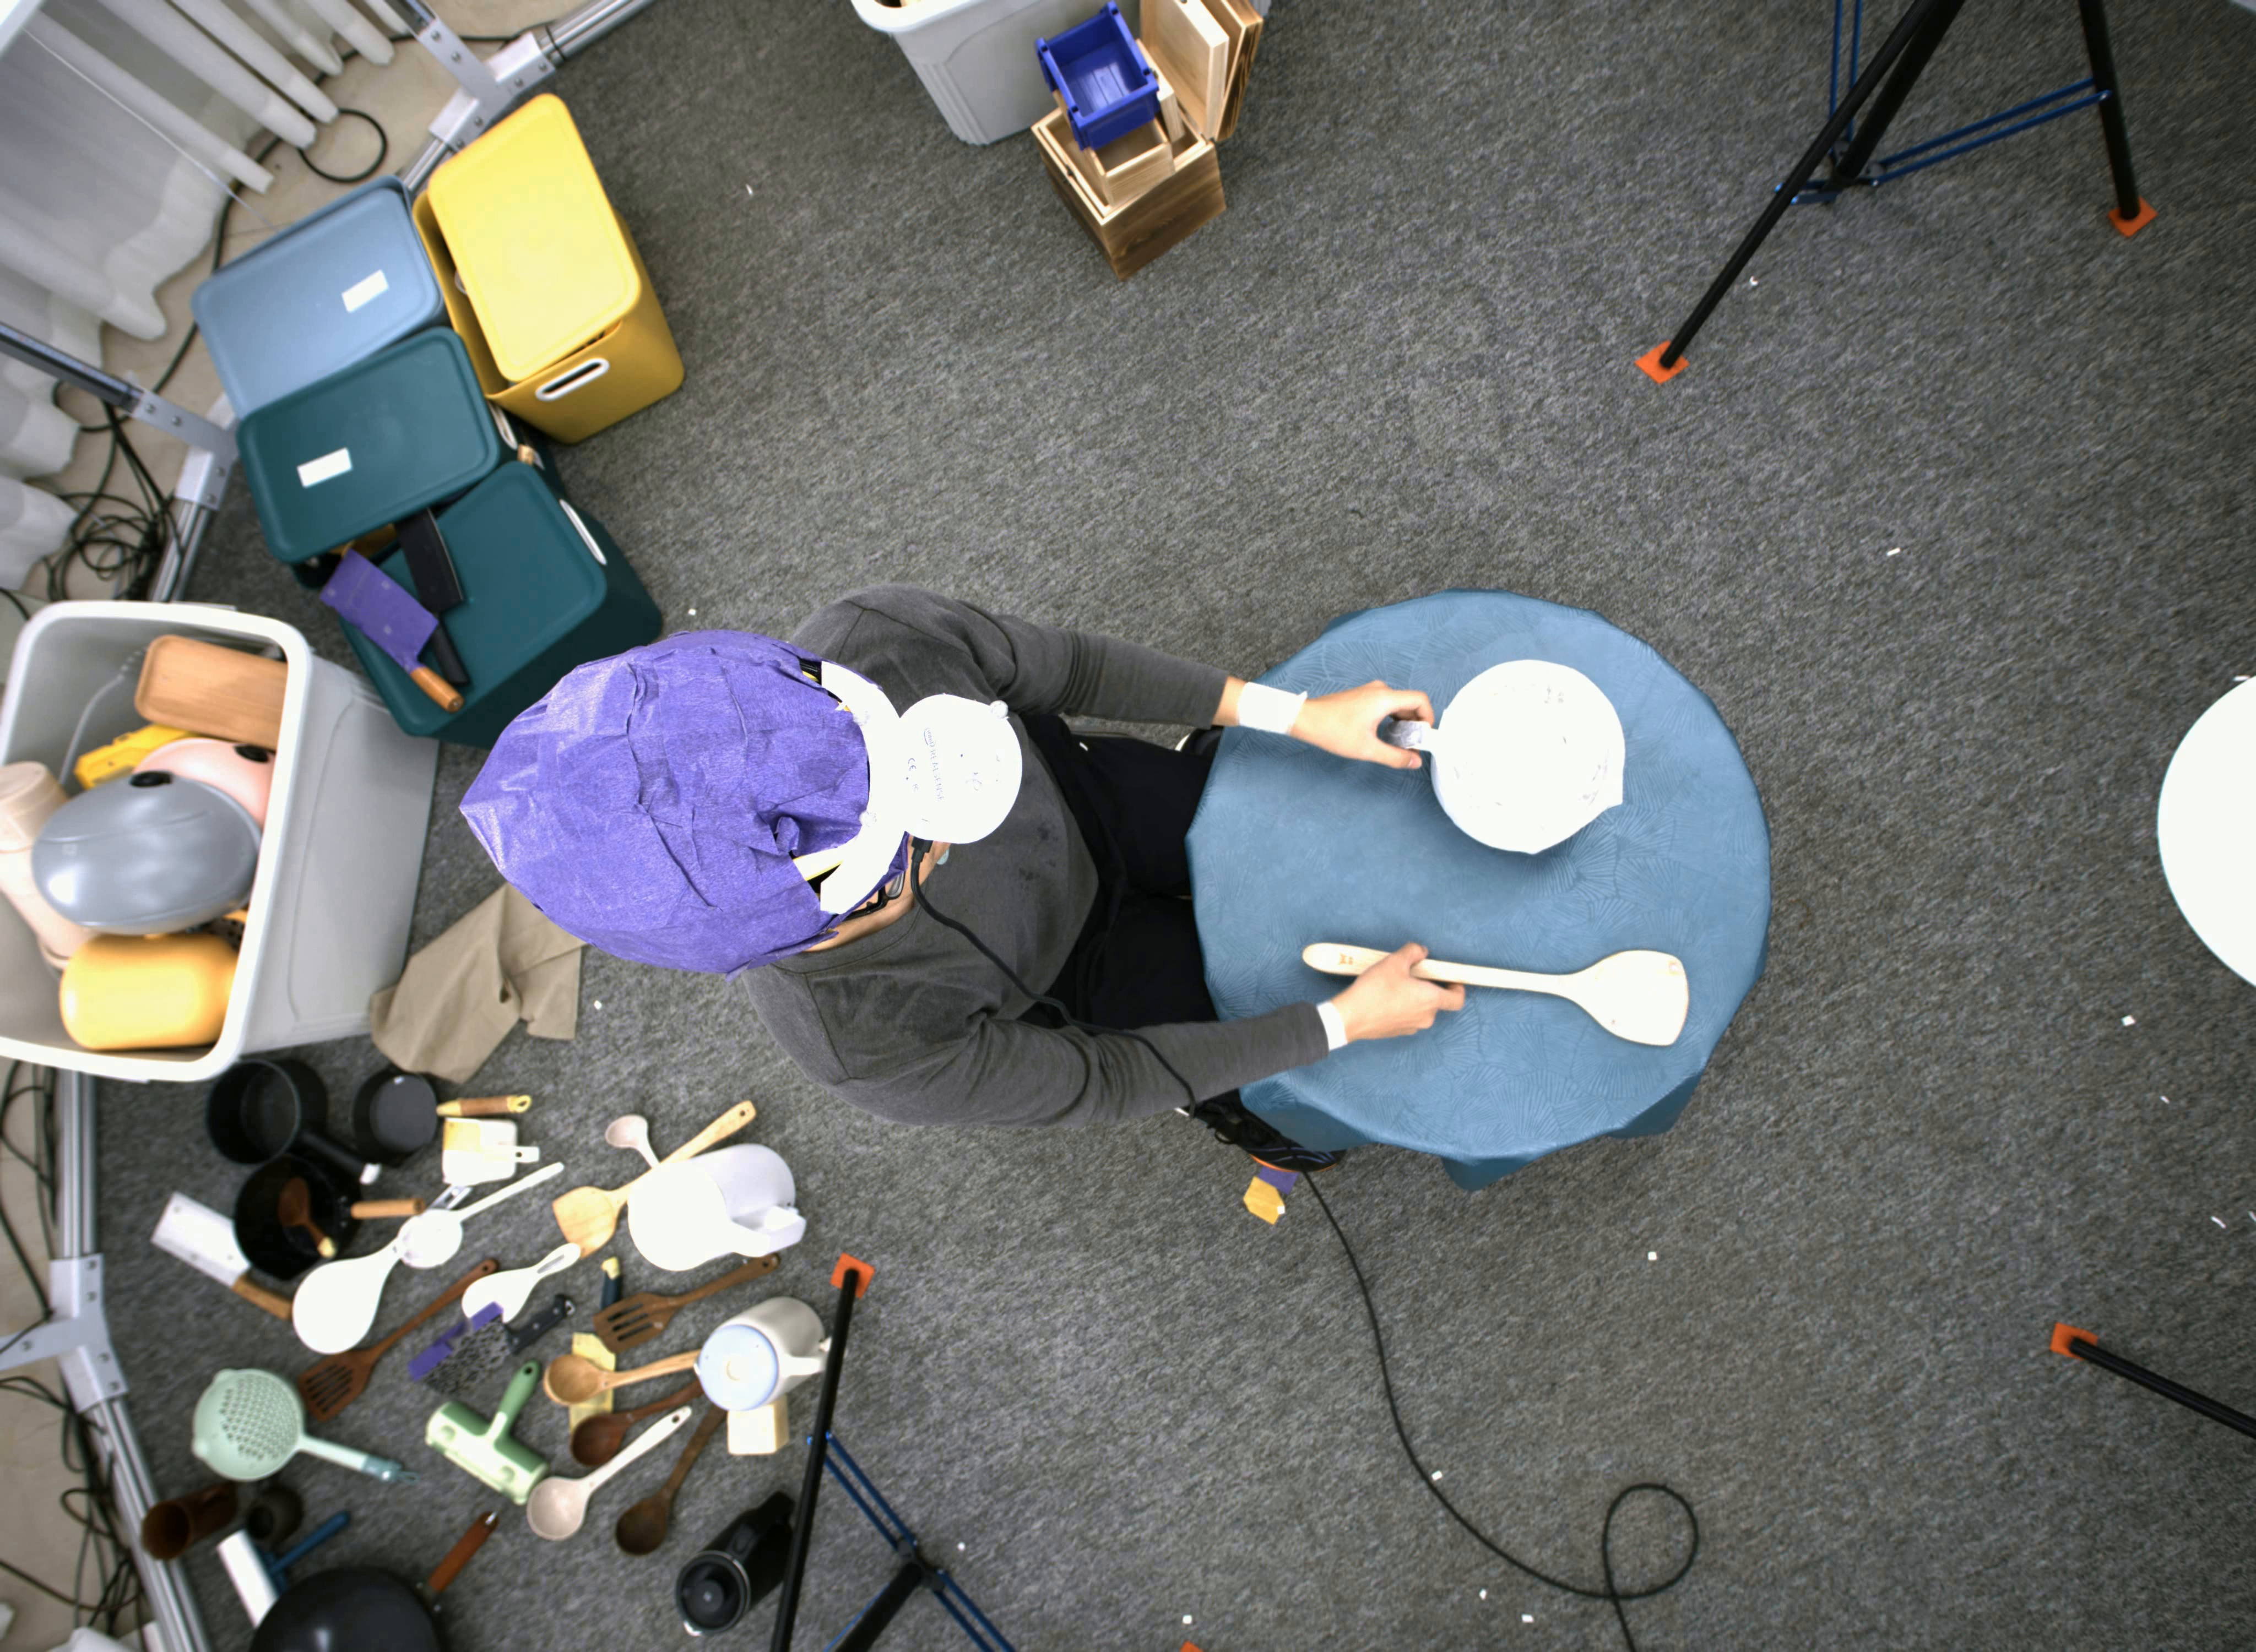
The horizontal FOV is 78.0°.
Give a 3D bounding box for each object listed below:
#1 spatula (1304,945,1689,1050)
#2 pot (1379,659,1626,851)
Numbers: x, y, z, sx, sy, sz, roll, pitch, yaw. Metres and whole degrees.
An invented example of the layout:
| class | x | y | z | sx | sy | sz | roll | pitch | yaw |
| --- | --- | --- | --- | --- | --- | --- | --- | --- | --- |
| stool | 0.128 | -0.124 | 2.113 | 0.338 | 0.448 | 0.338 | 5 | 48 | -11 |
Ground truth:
| class | x | y | z | sx | sy | sz | roll | pitch | yaw |
| --- | --- | --- | --- | --- | --- | --- | --- | --- | --- |
| spatula | 0.376 | 0.159 | 1.416 | 0.391 | 0.018 | 0.095 | 6 | 85 | 6 |
| pot | 0.369 | -0.073 | 1.379 | 0.234 | 0.137 | 0.178 | 10 | 87 | 11 |
